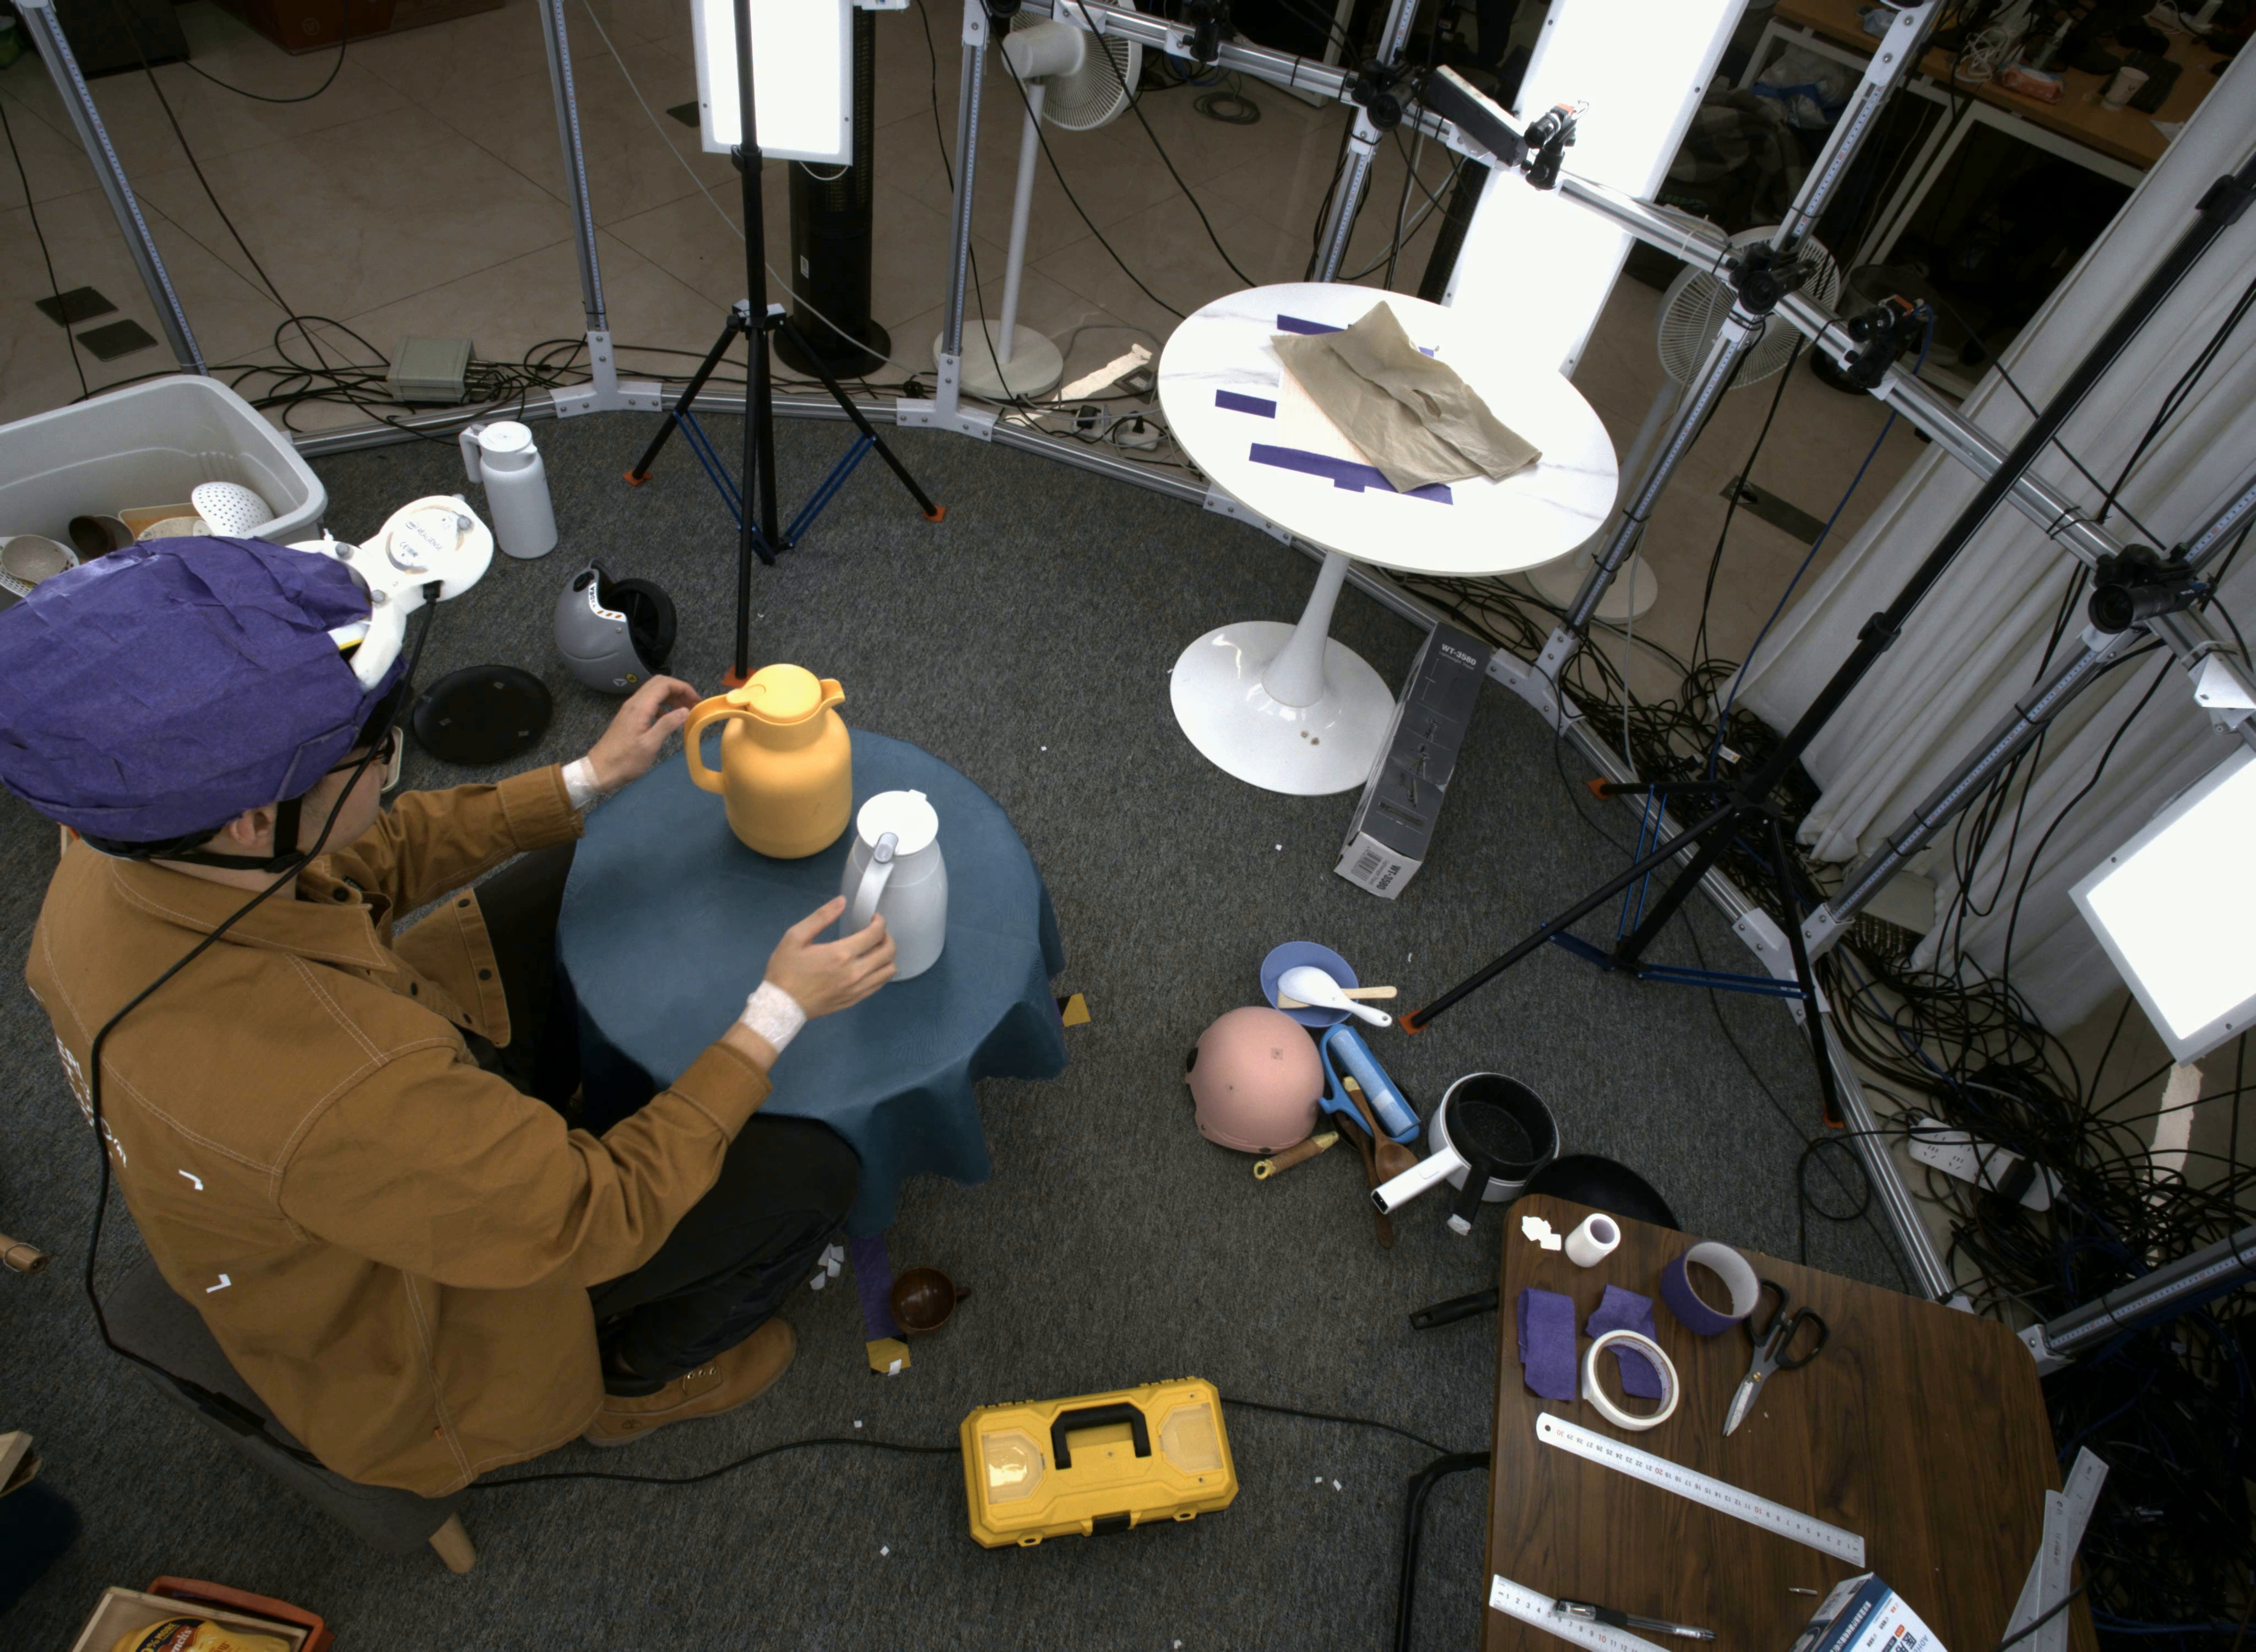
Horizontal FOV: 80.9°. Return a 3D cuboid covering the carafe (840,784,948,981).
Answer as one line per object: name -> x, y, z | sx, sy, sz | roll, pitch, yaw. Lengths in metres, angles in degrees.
carafe -> -0.283, 0.075, 1.540 | 0.131, 0.254, 0.166 | 19, 52, 3

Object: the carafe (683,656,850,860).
carafe -> -0.448, -0.088, 1.612 | 0.203, 0.266, 0.159 | -8, 53, -20
